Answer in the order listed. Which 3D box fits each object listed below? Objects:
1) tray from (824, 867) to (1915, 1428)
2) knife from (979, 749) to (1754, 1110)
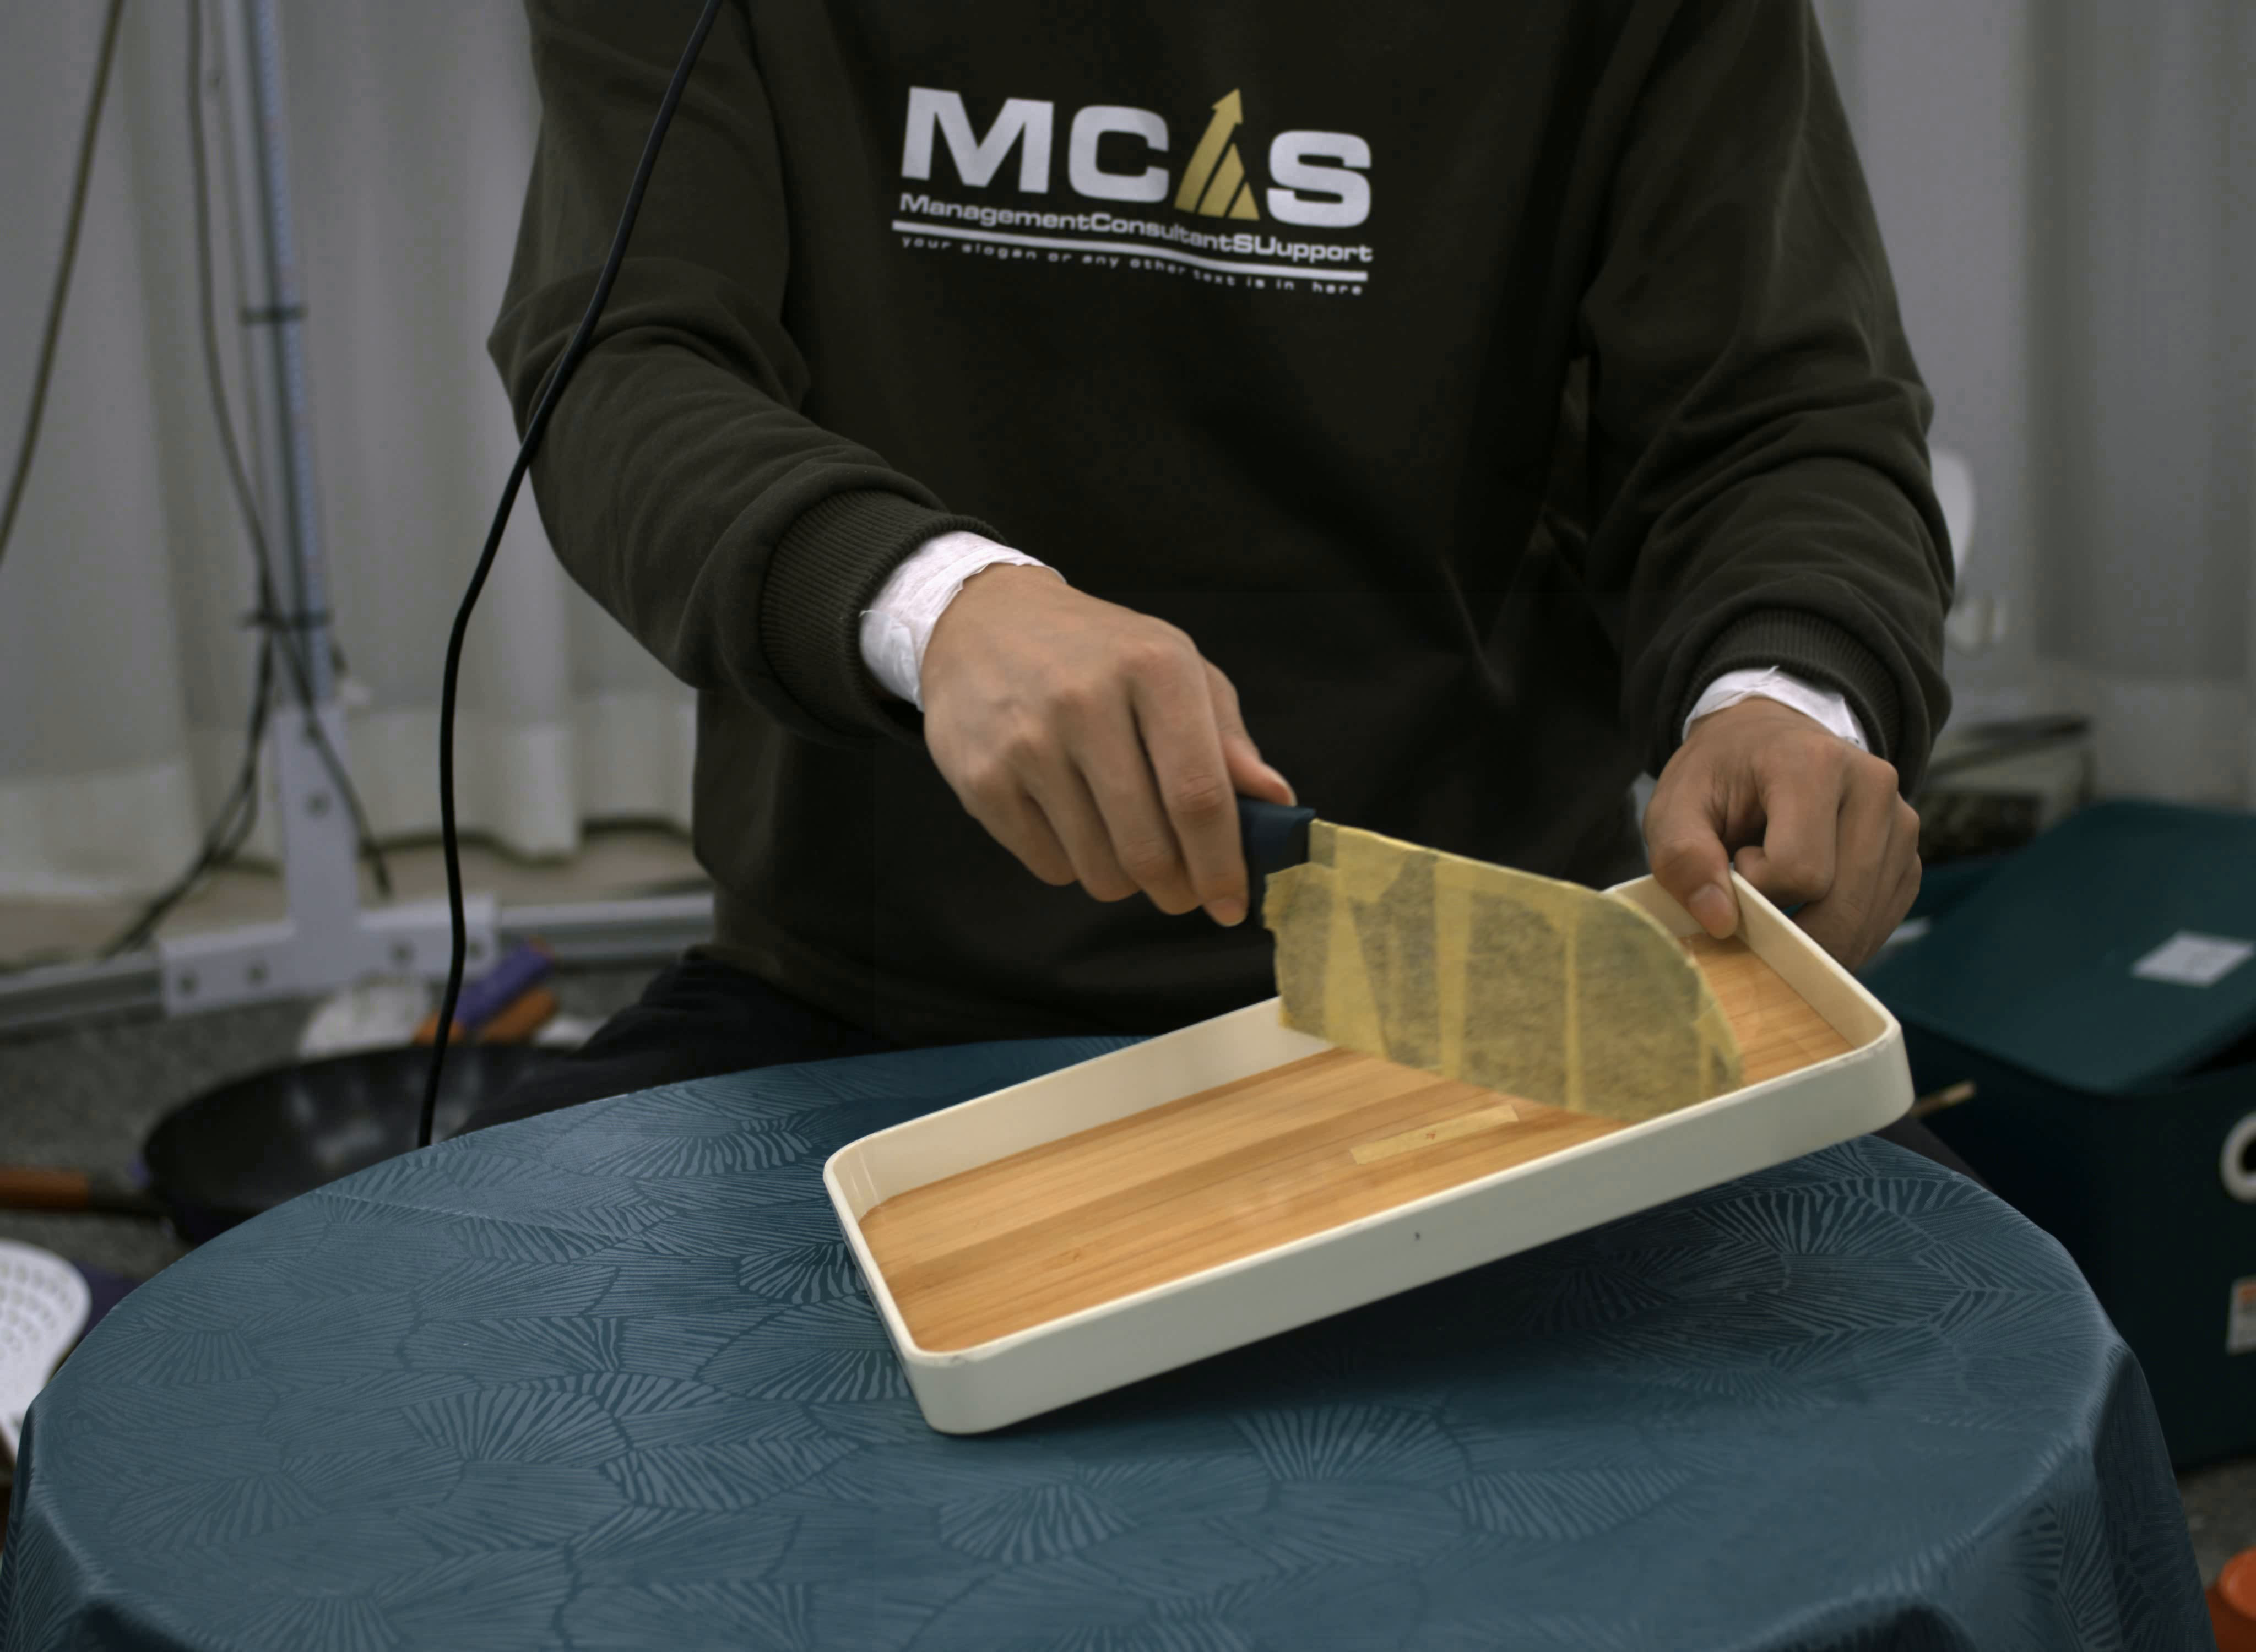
[{"bbox_3d":[0.066,0.091,1.613,0.299,0.027,0.193,-18,17,-6],"label":"tray"},{"bbox_3d":[0.068,0.029,1.635,0.291,0.080,0.027,18,26,37],"label":"knife"}]
